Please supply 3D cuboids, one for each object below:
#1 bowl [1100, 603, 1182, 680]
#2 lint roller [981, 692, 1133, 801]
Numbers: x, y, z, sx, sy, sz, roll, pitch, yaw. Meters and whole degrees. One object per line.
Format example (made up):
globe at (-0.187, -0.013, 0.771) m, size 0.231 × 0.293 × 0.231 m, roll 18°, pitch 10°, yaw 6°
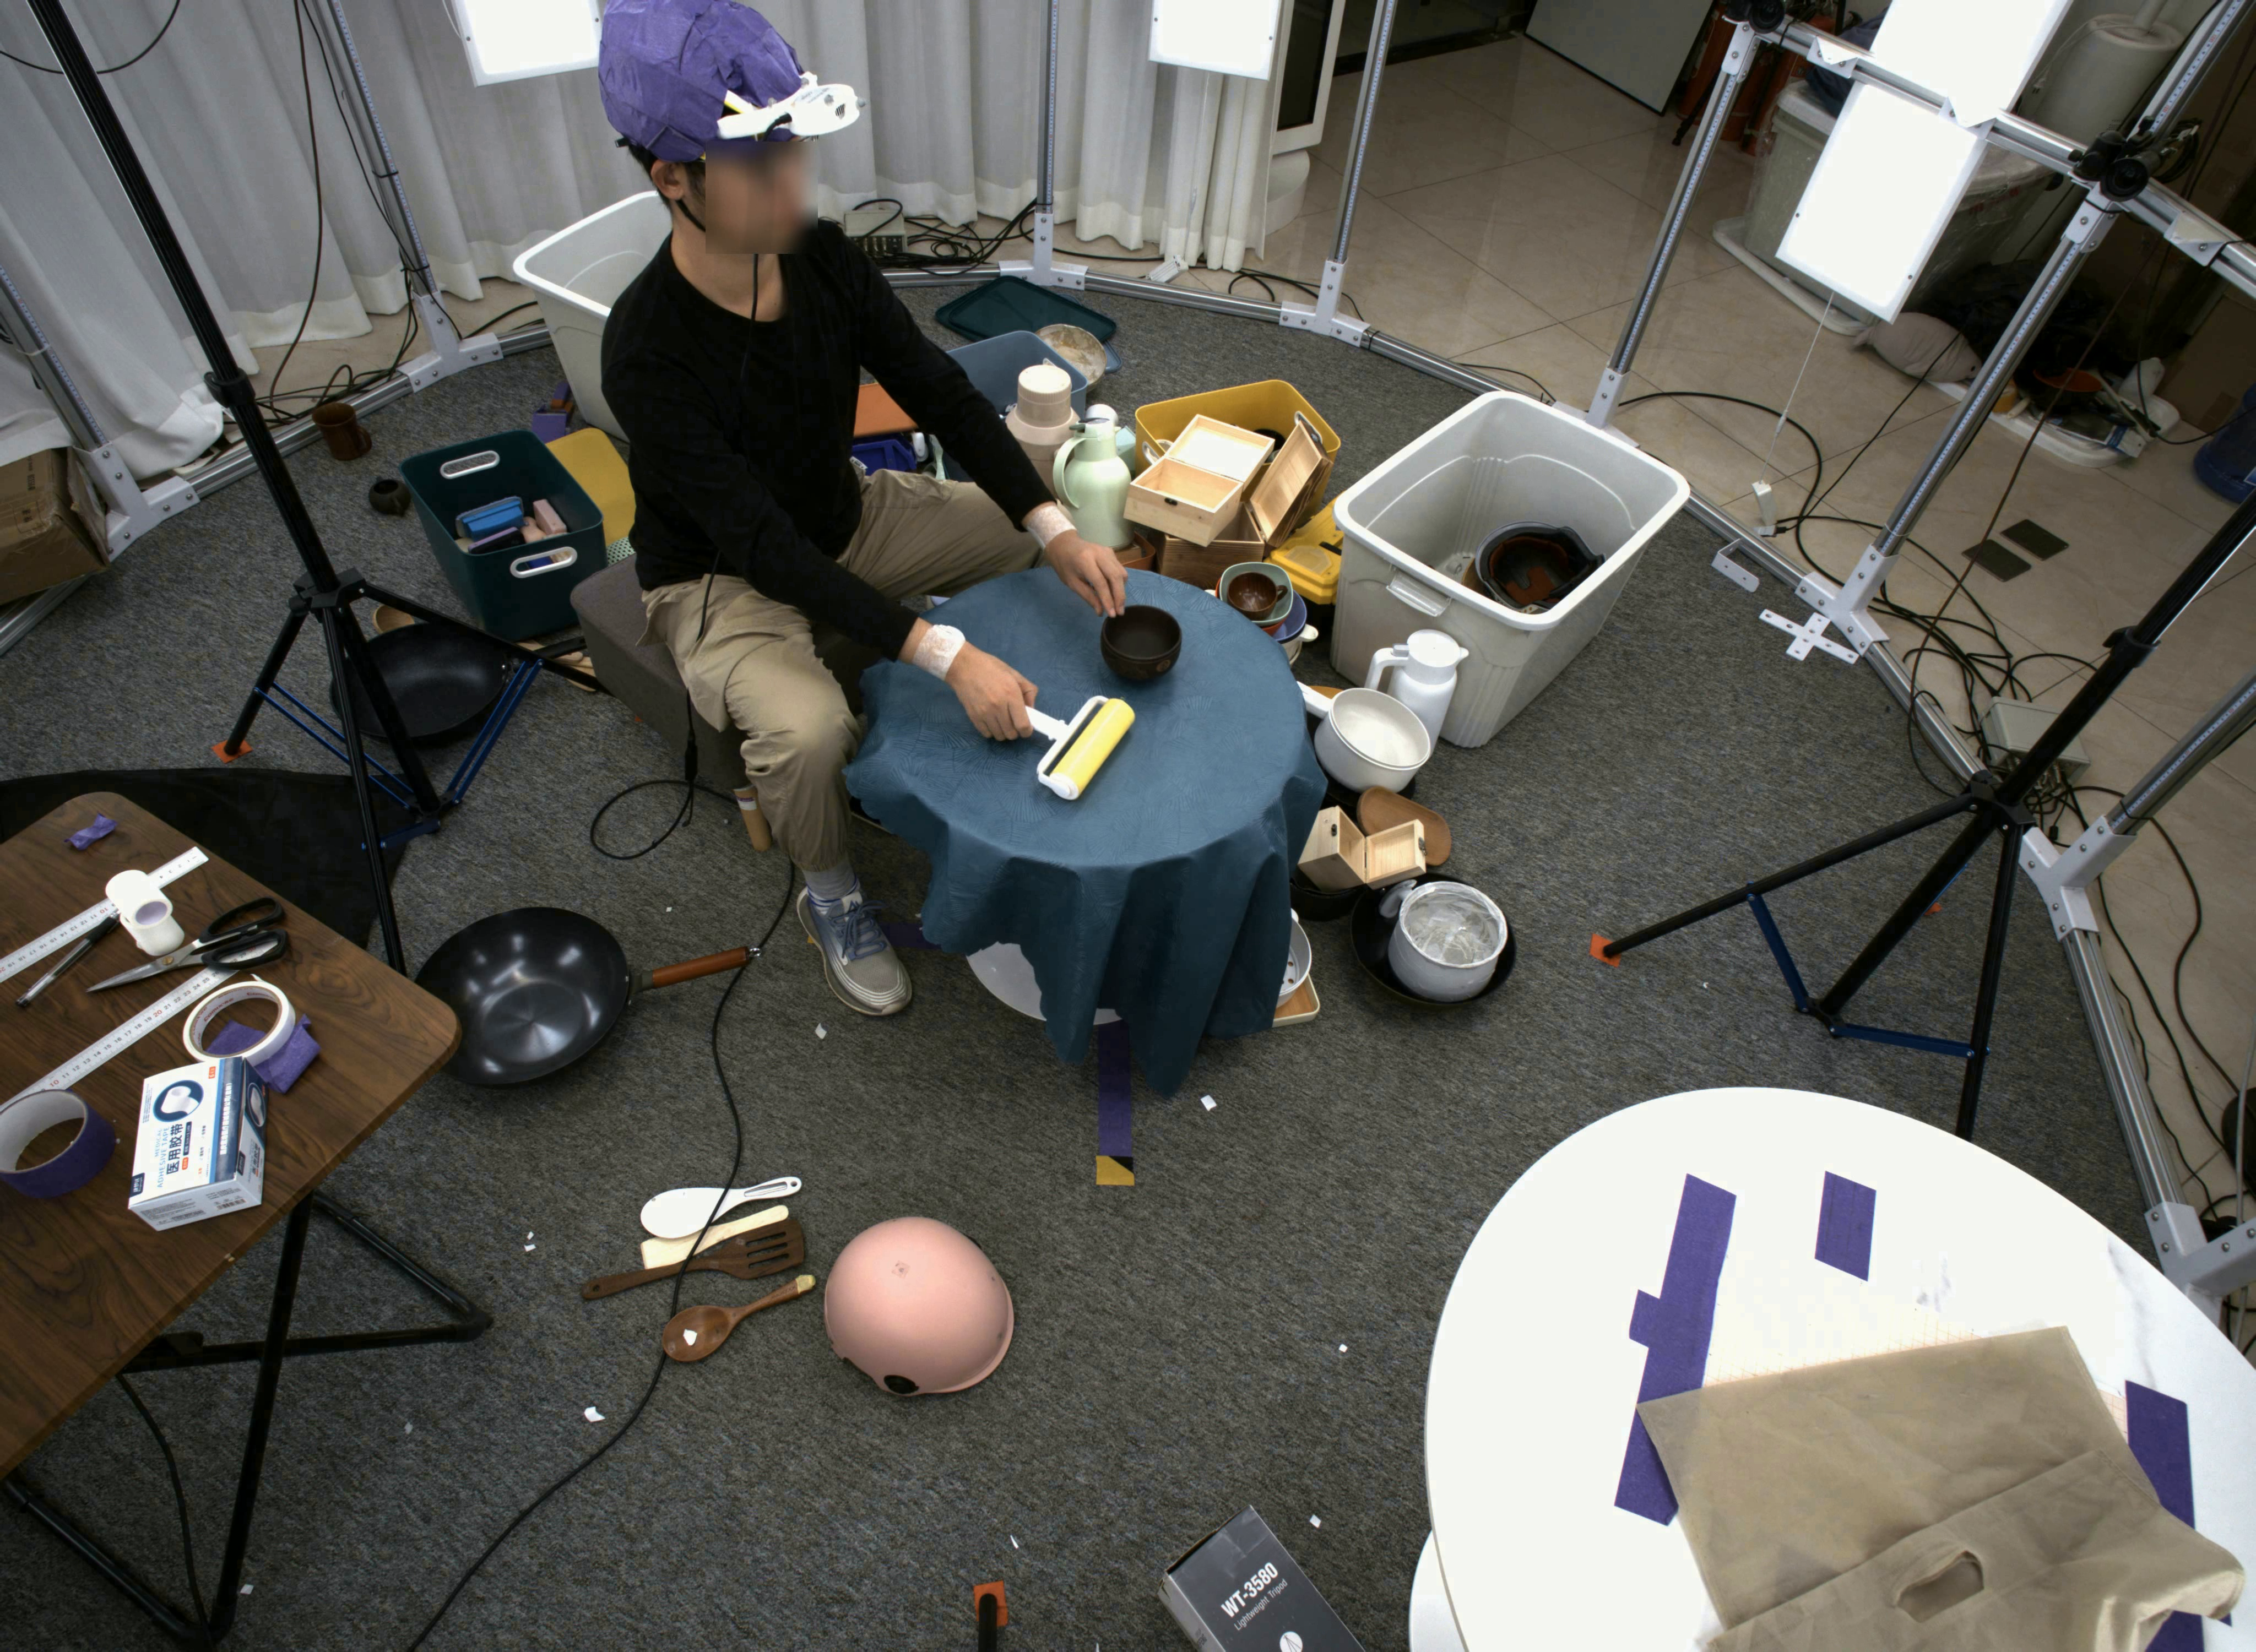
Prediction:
bowl at (0.017, -0.257, 1.845) m, size 0.118 × 0.068 × 0.121 m, roll 3°, pitch 49°, yaw -3°
lint roller at (-0.111, -0.139, 1.735) m, size 0.192 × 0.050 × 0.177 m, roll 30°, pitch 52°, yaw 4°
